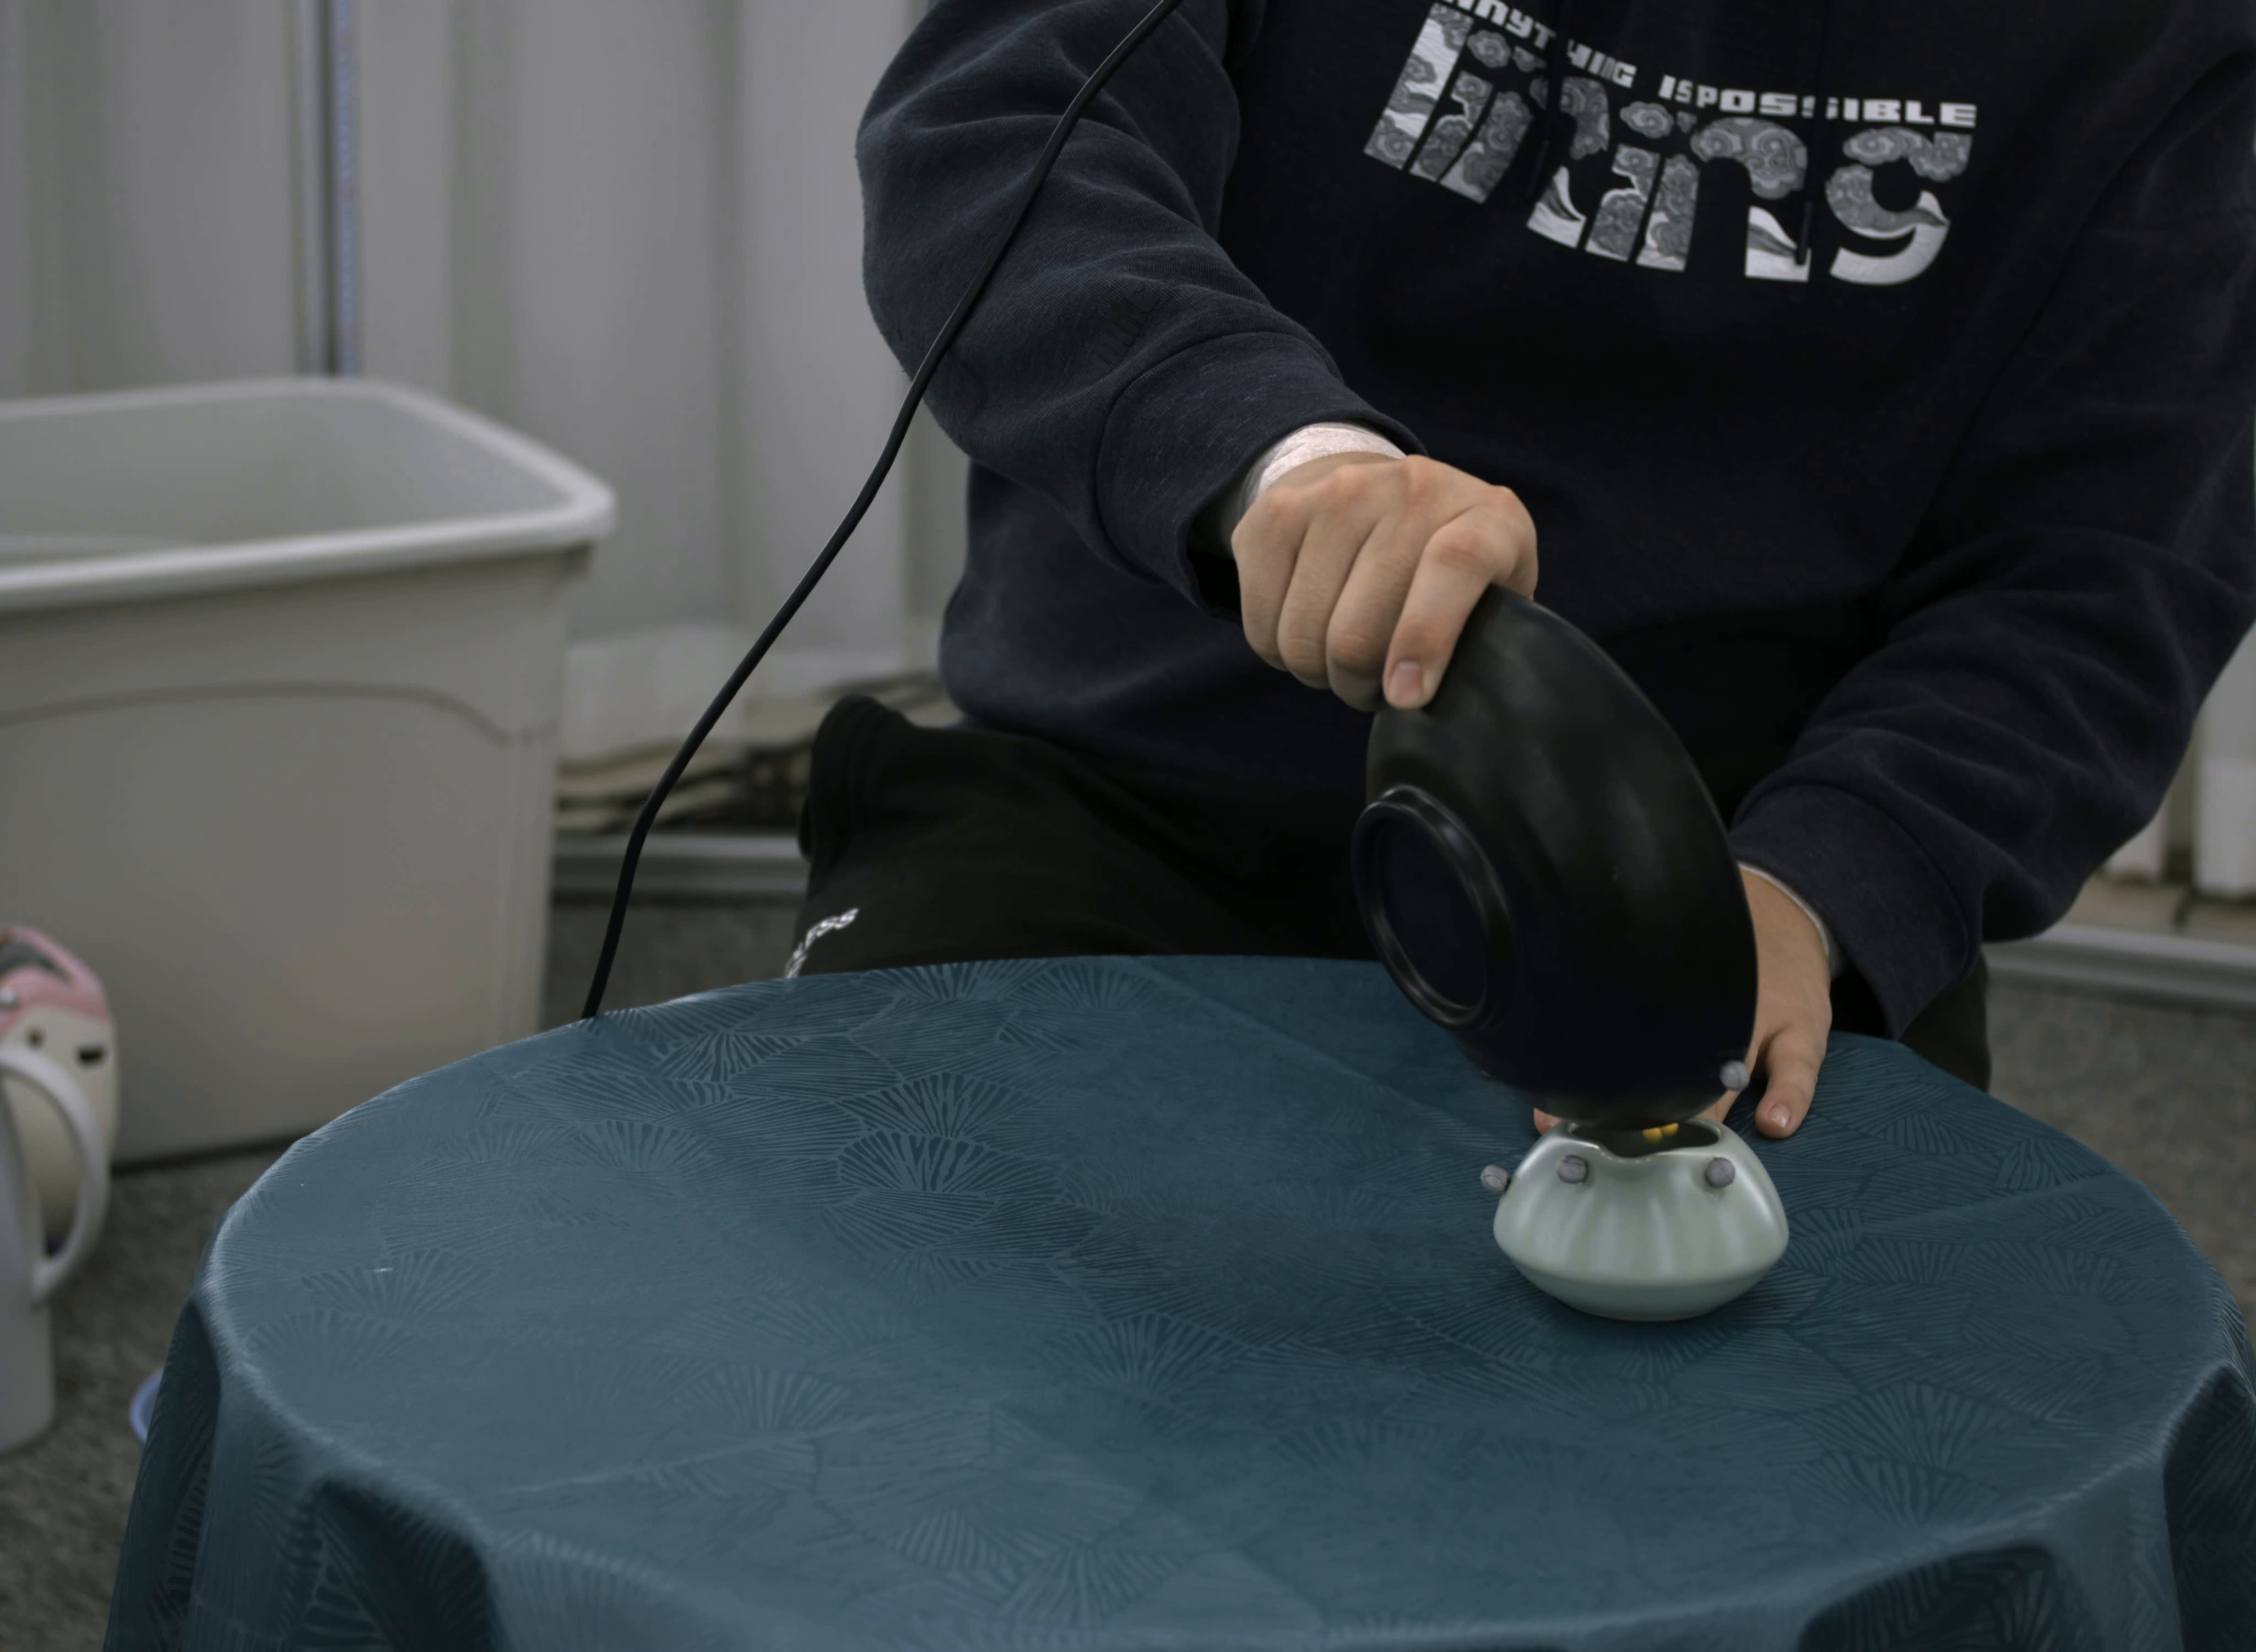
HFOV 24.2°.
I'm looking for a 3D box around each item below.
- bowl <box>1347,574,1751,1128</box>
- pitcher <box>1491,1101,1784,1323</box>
[{"bbox_3d":[0.108,0.015,1.479,0.067,0.172,0.136,-25,21,-25],"label":"bowl"},{"bbox_3d":[0.151,0.107,1.549,0.085,0.061,0.108,4,15,9],"label":"pitcher"}]
